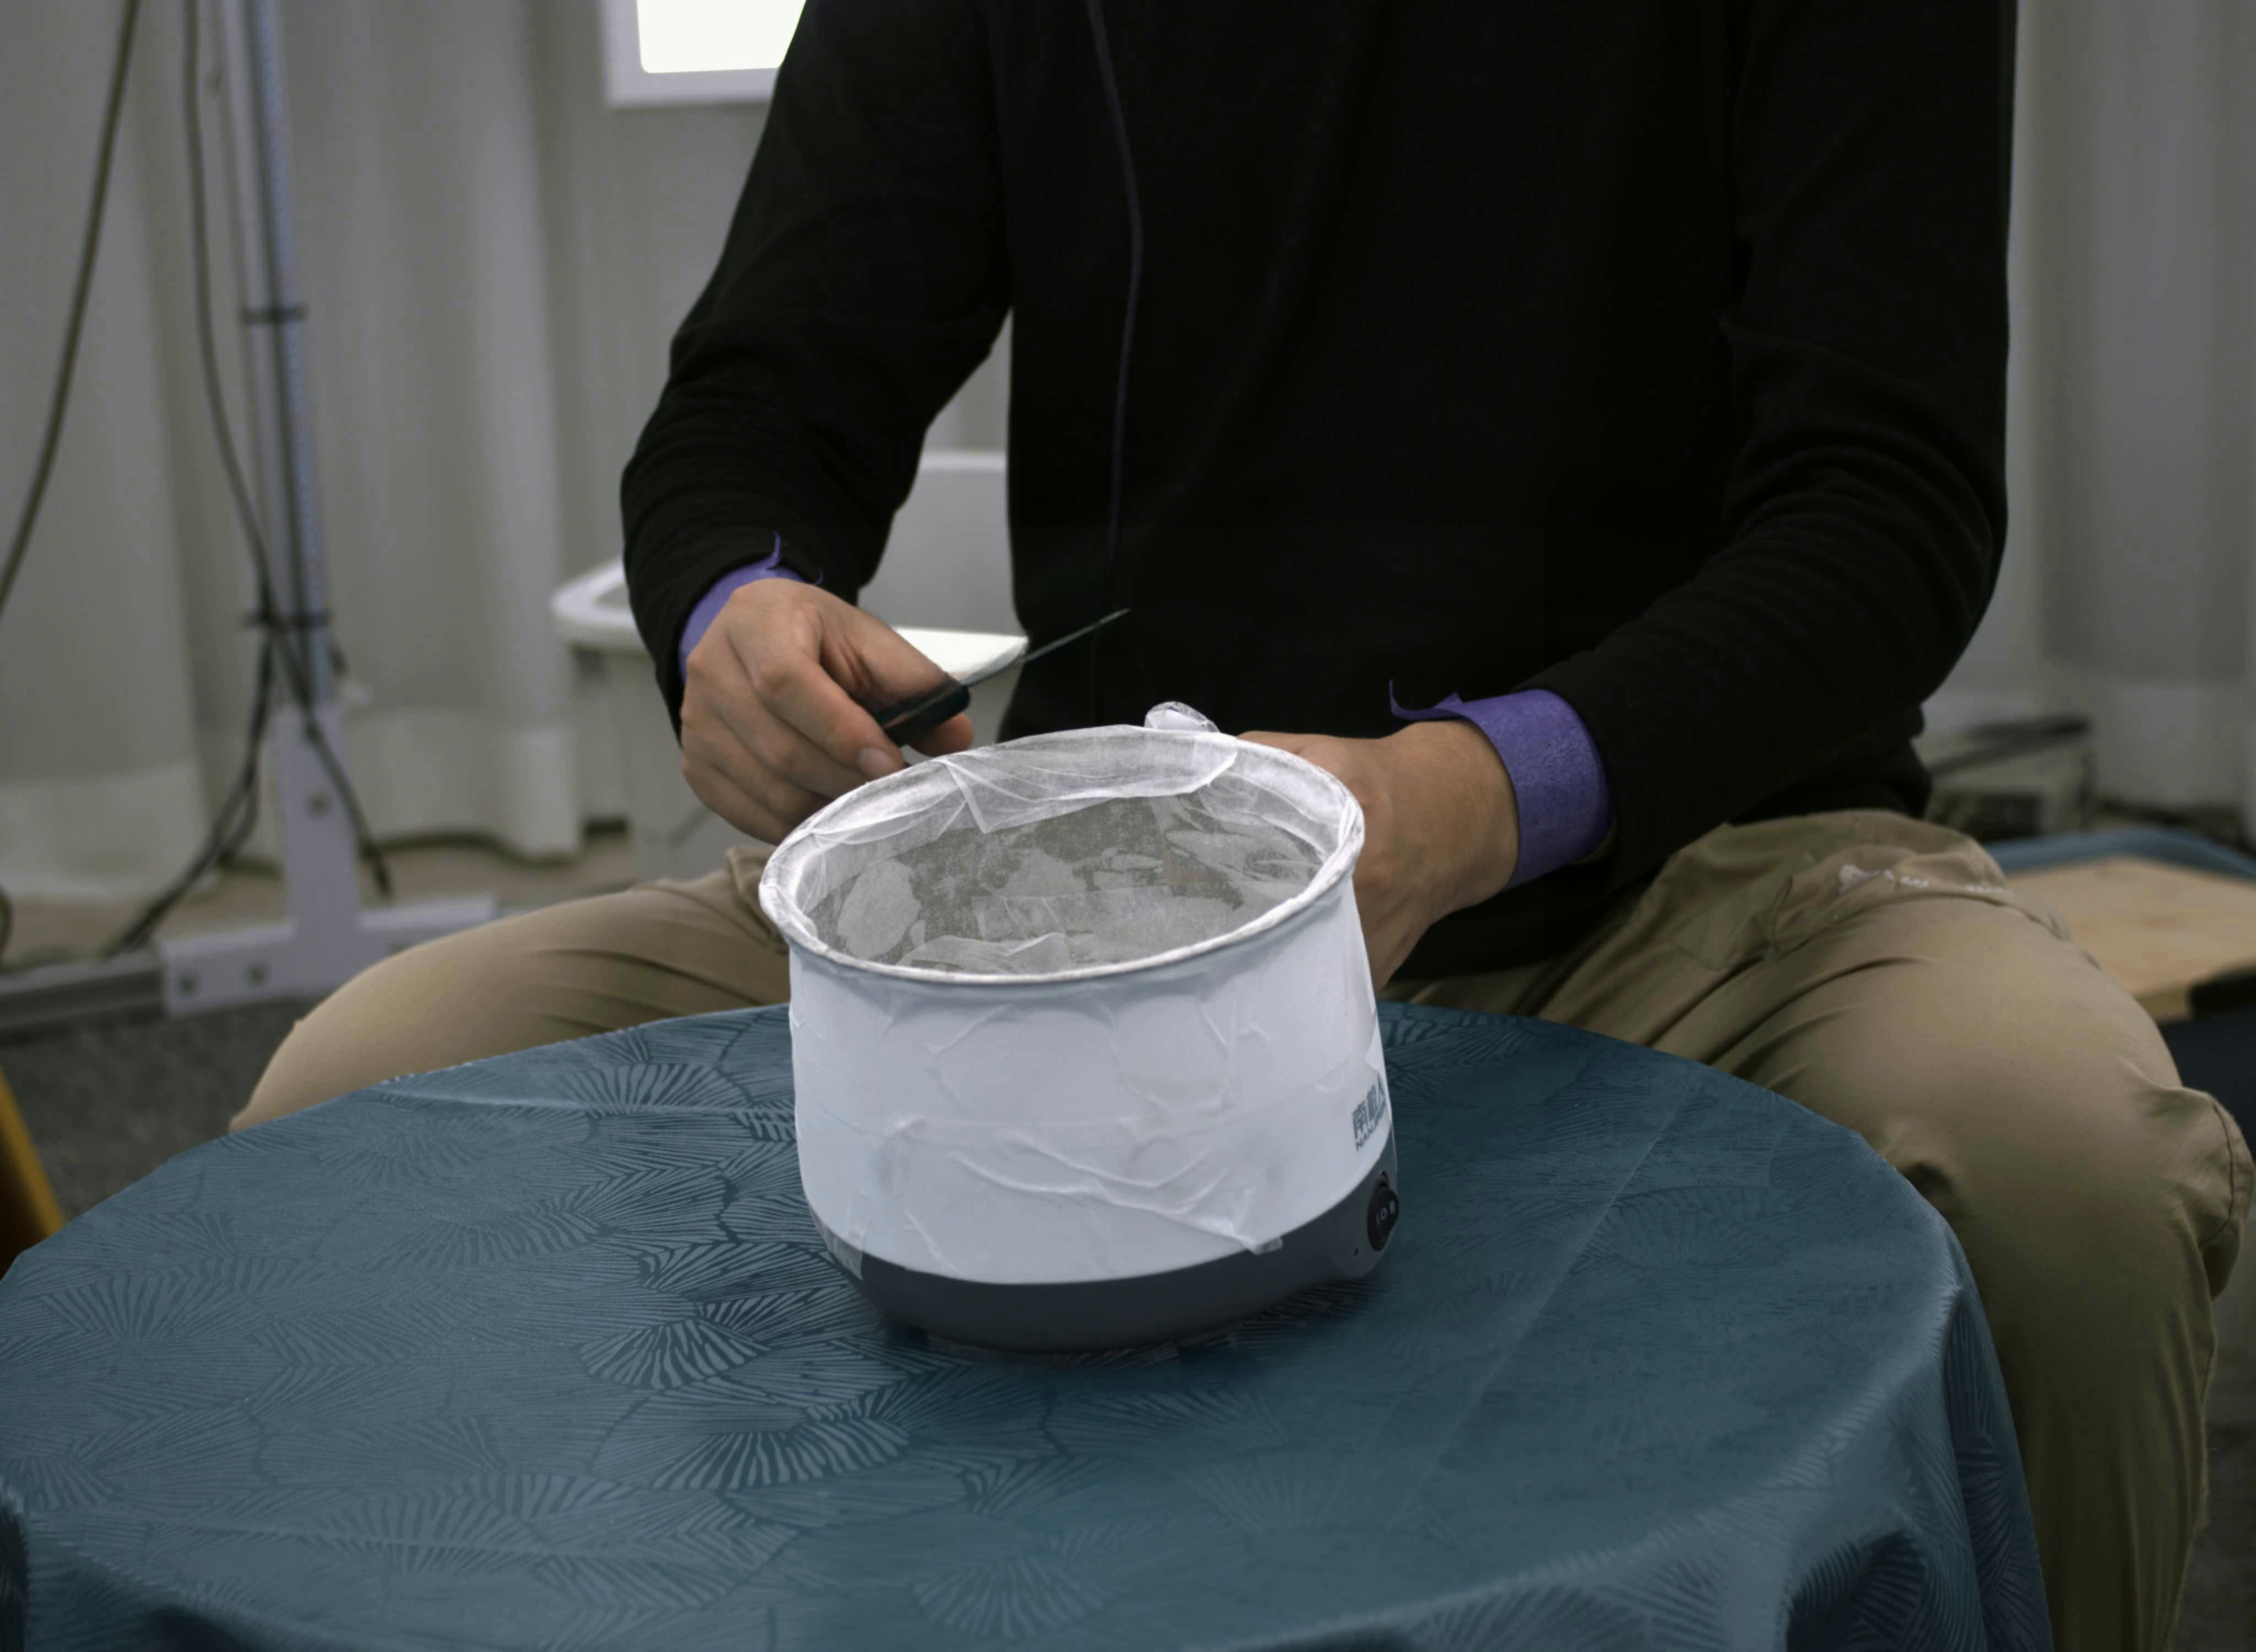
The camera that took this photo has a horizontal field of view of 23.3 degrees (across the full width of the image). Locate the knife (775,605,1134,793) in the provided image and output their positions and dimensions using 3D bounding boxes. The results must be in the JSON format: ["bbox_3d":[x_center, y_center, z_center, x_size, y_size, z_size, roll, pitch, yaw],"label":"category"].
[{"bbox_3d":[-0.057,-0.040,1.709,0.024,0.016,0.237,-24,1,-30],"label":"knife"}]

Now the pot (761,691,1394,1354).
[{"bbox_3d":[-0.005,0.051,1.636,0.179,0.135,0.235,3,25,19],"label":"pot"}]
